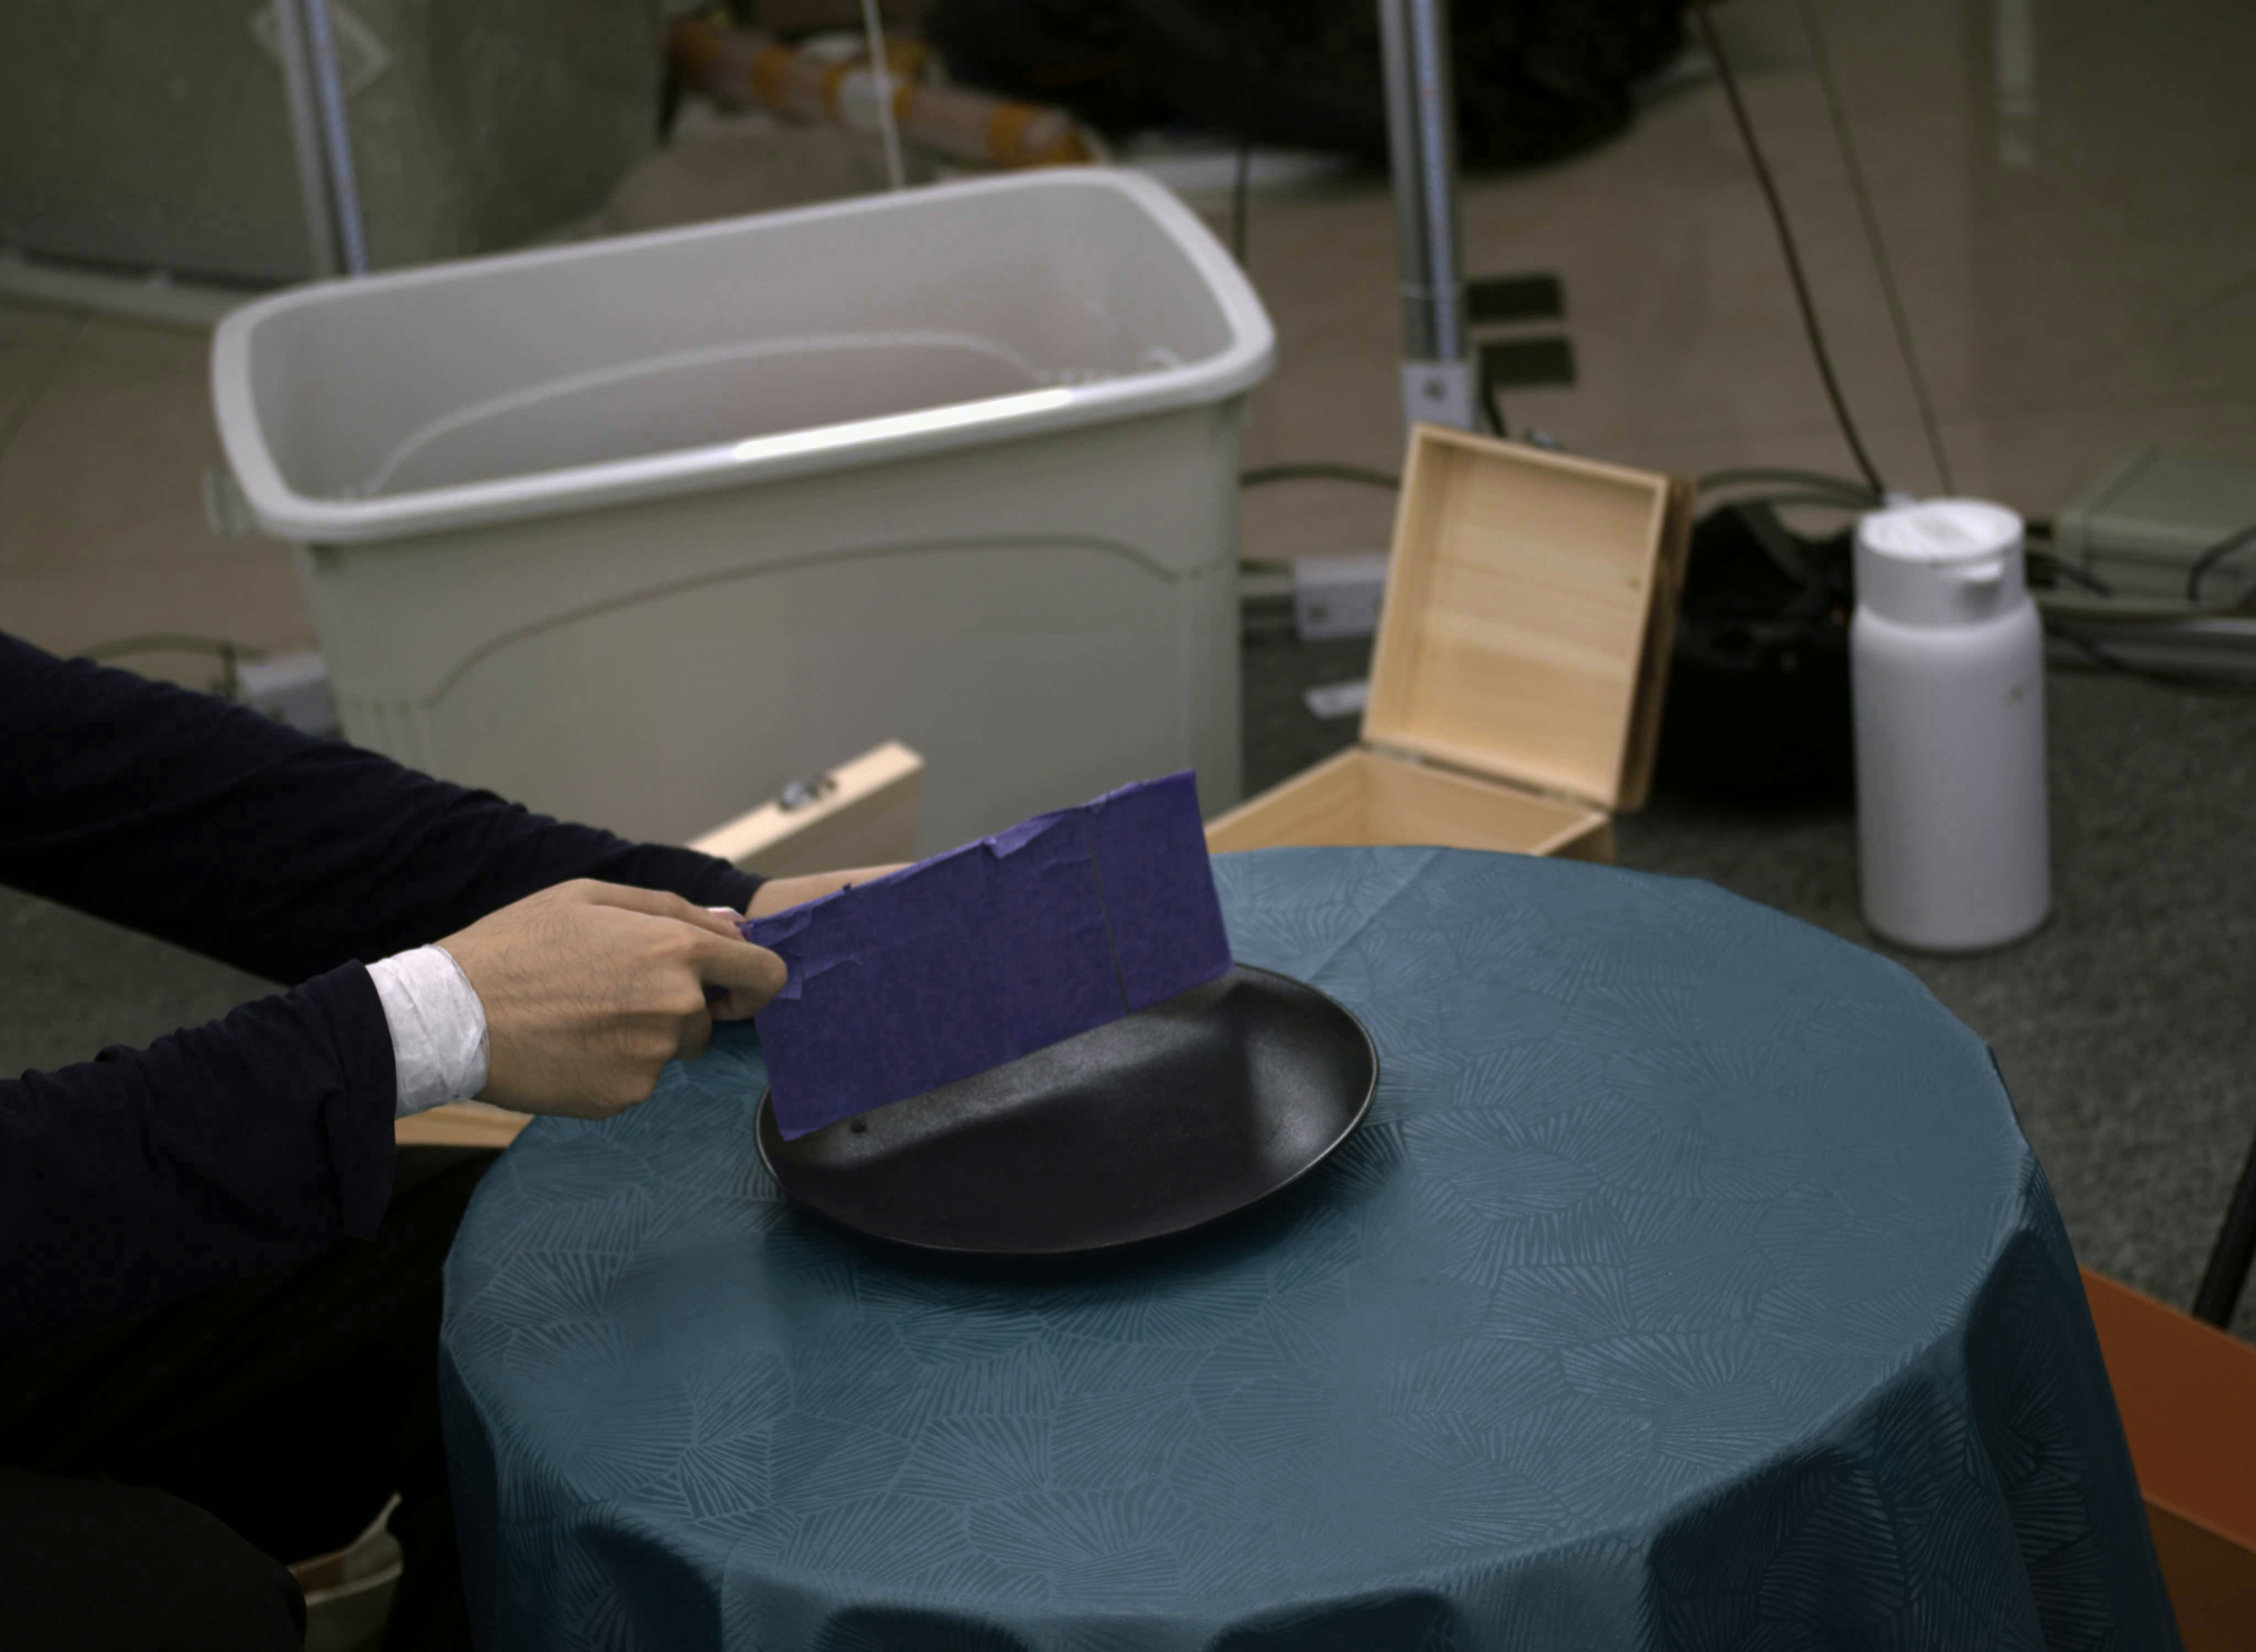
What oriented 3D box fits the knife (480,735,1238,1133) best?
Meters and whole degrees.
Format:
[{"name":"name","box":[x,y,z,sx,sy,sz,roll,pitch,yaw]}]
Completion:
[{"name":"knife","box":[-0.094,0.062,2.174,0.313,0.105,0.032,-21,20,-22]}]

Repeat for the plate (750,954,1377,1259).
[{"name":"plate","box":[-0.024,0.112,2.185,0.244,0.024,0.241,-5,26,2]}]
